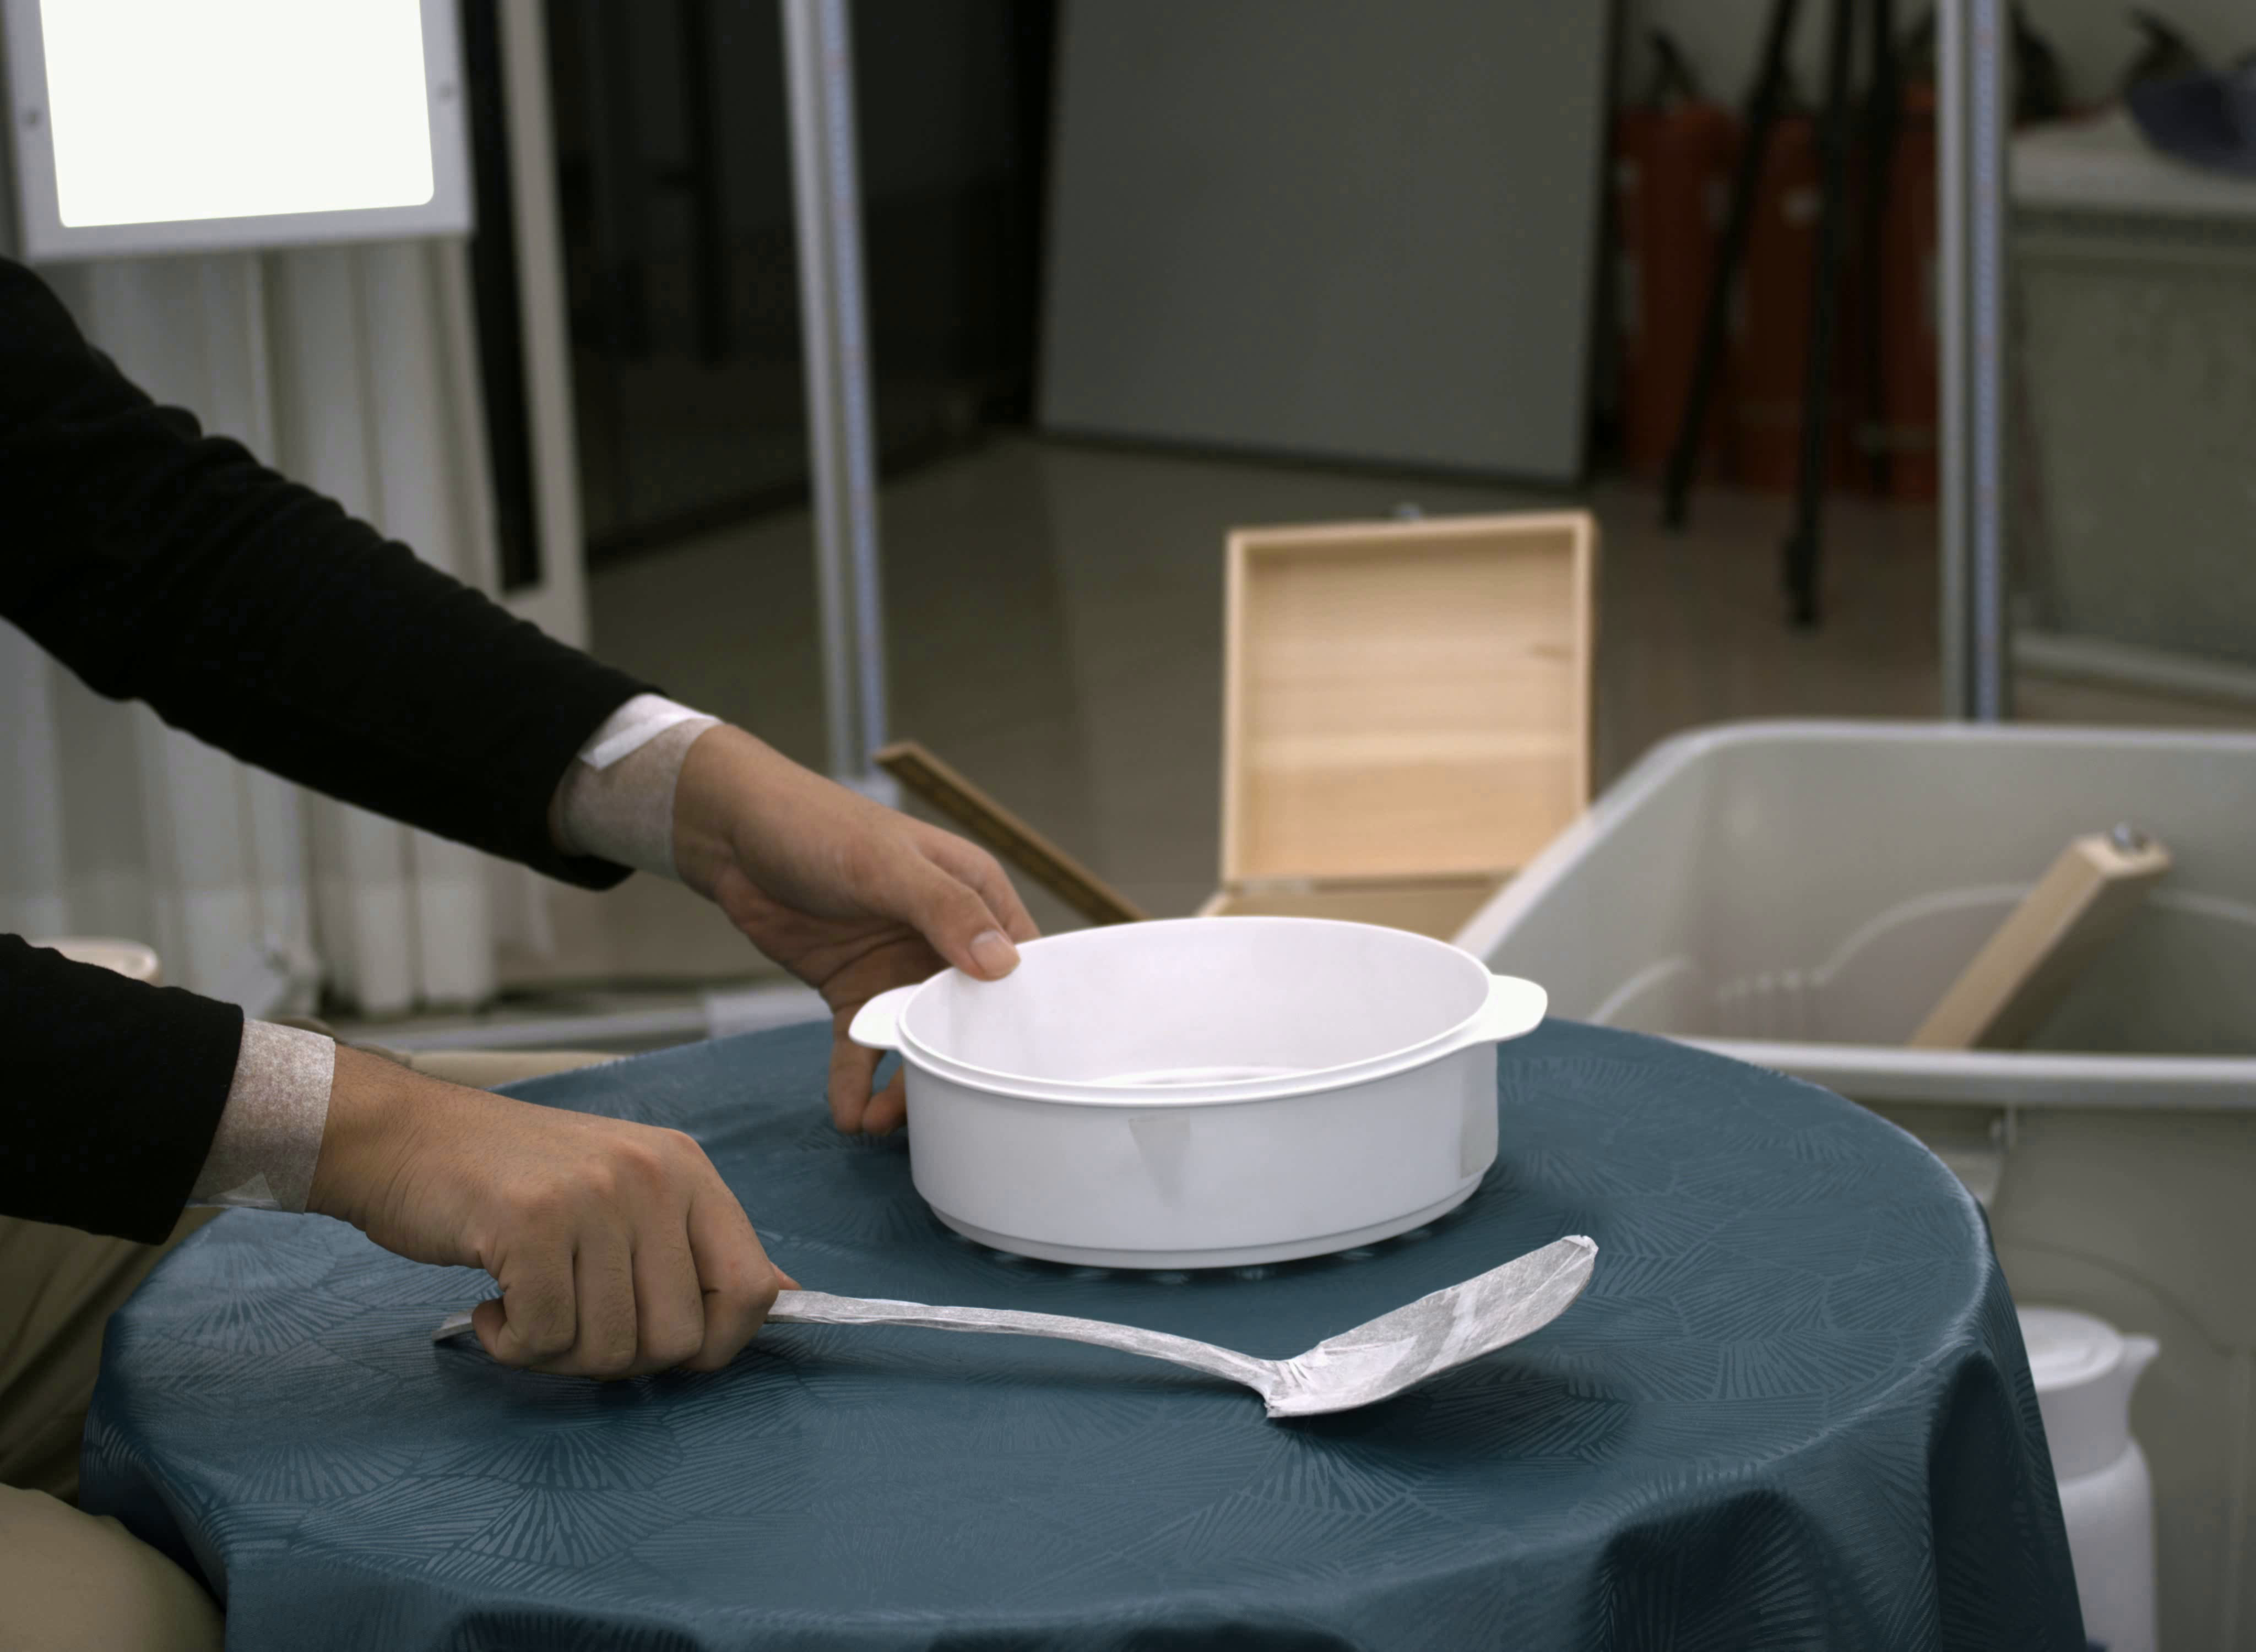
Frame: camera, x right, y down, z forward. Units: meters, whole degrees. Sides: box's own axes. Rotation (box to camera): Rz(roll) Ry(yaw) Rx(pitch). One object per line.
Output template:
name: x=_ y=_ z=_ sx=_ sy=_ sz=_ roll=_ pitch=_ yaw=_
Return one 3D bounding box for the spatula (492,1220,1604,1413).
spatula: x=-0.035 y=0.144 z=1.607 sx=0.364 sy=0.045 sz=0.098 roll=1 pitch=17 yaw=22

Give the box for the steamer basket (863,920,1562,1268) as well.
steamer basket: x=0.029 y=0.086 z=1.755 sx=0.229 sy=0.070 sz=0.201 roll=-2 pitch=13 yaw=11
